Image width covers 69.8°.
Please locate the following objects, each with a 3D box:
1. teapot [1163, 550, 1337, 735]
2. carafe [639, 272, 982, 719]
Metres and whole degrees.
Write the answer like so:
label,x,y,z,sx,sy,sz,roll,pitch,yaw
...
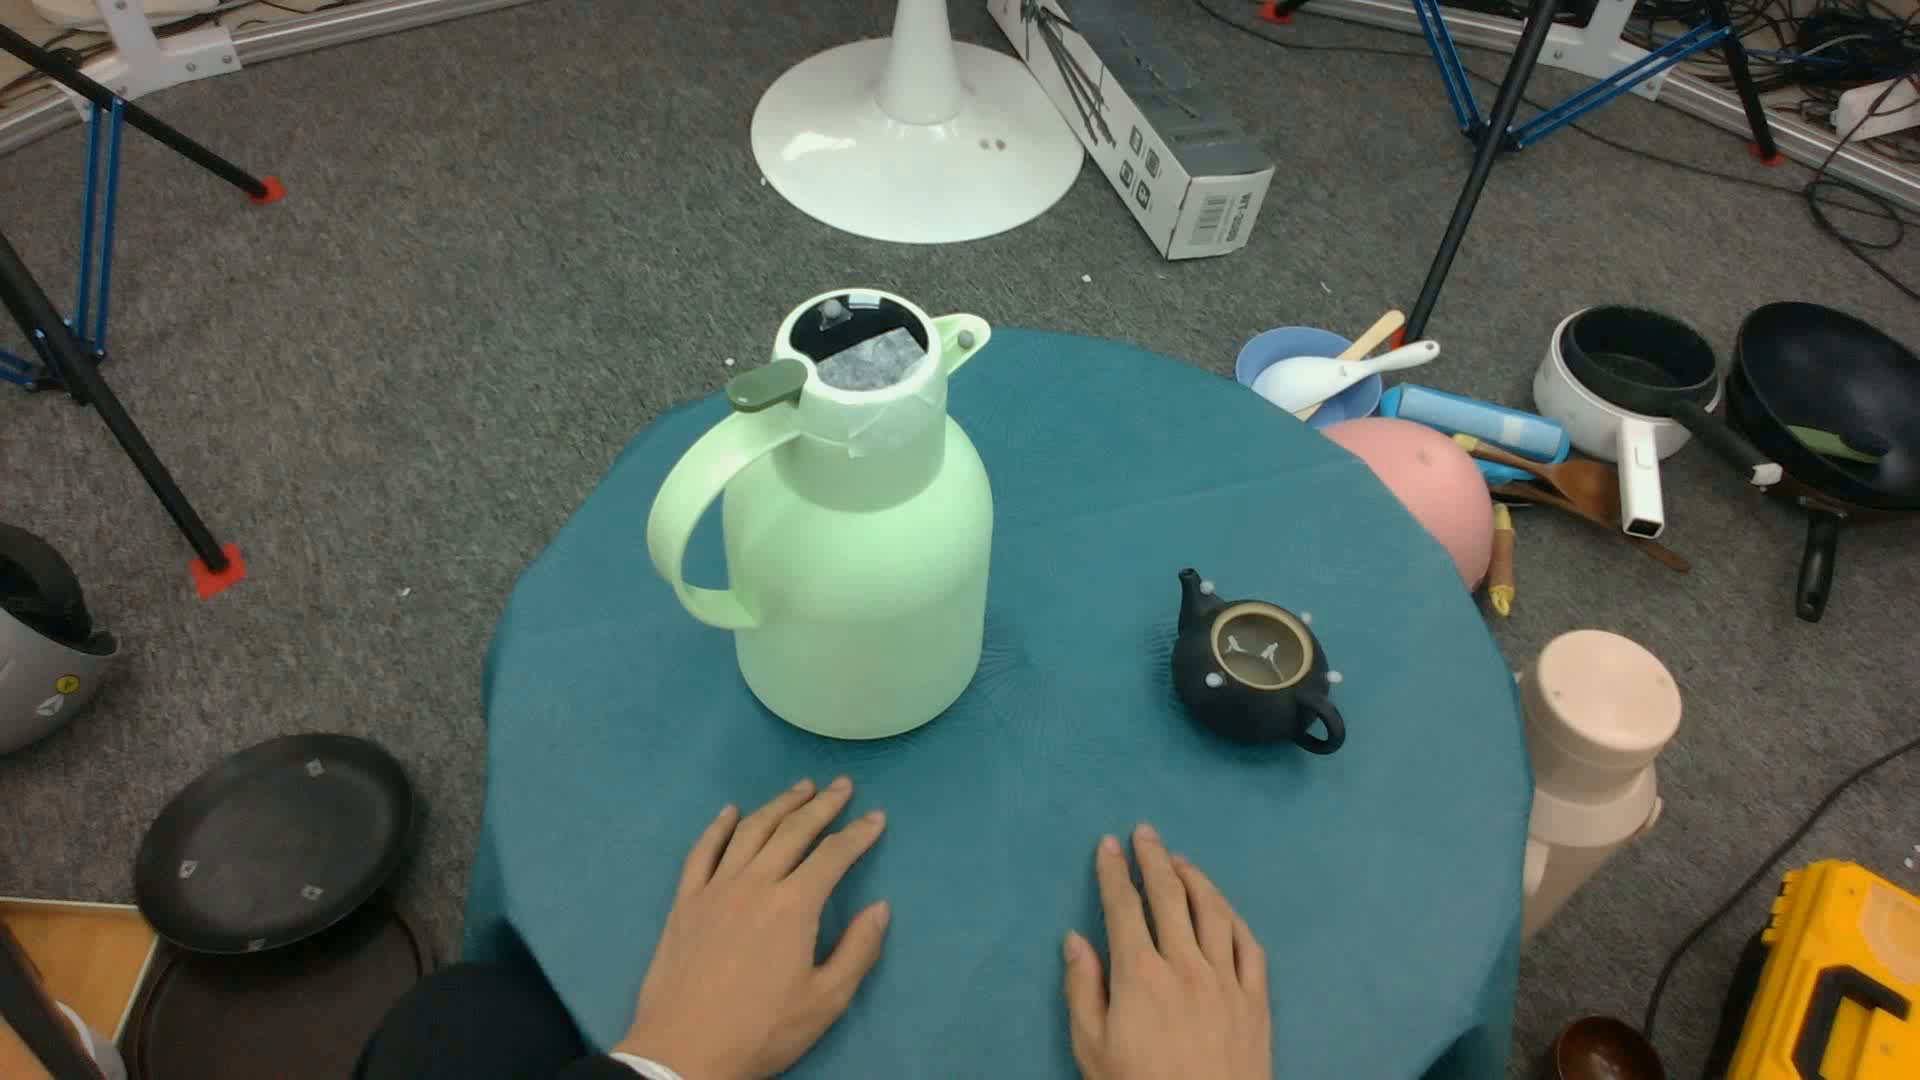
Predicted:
label,x,y,z,sx,sy,sz,roll,pitch,yaw
teapot,0.163,0.063,0.792,0.091,0.053,0.133,-31,61,-22
carafe,-0.070,-0.016,0.713,0.187,0.255,0.144,-32,62,-21
